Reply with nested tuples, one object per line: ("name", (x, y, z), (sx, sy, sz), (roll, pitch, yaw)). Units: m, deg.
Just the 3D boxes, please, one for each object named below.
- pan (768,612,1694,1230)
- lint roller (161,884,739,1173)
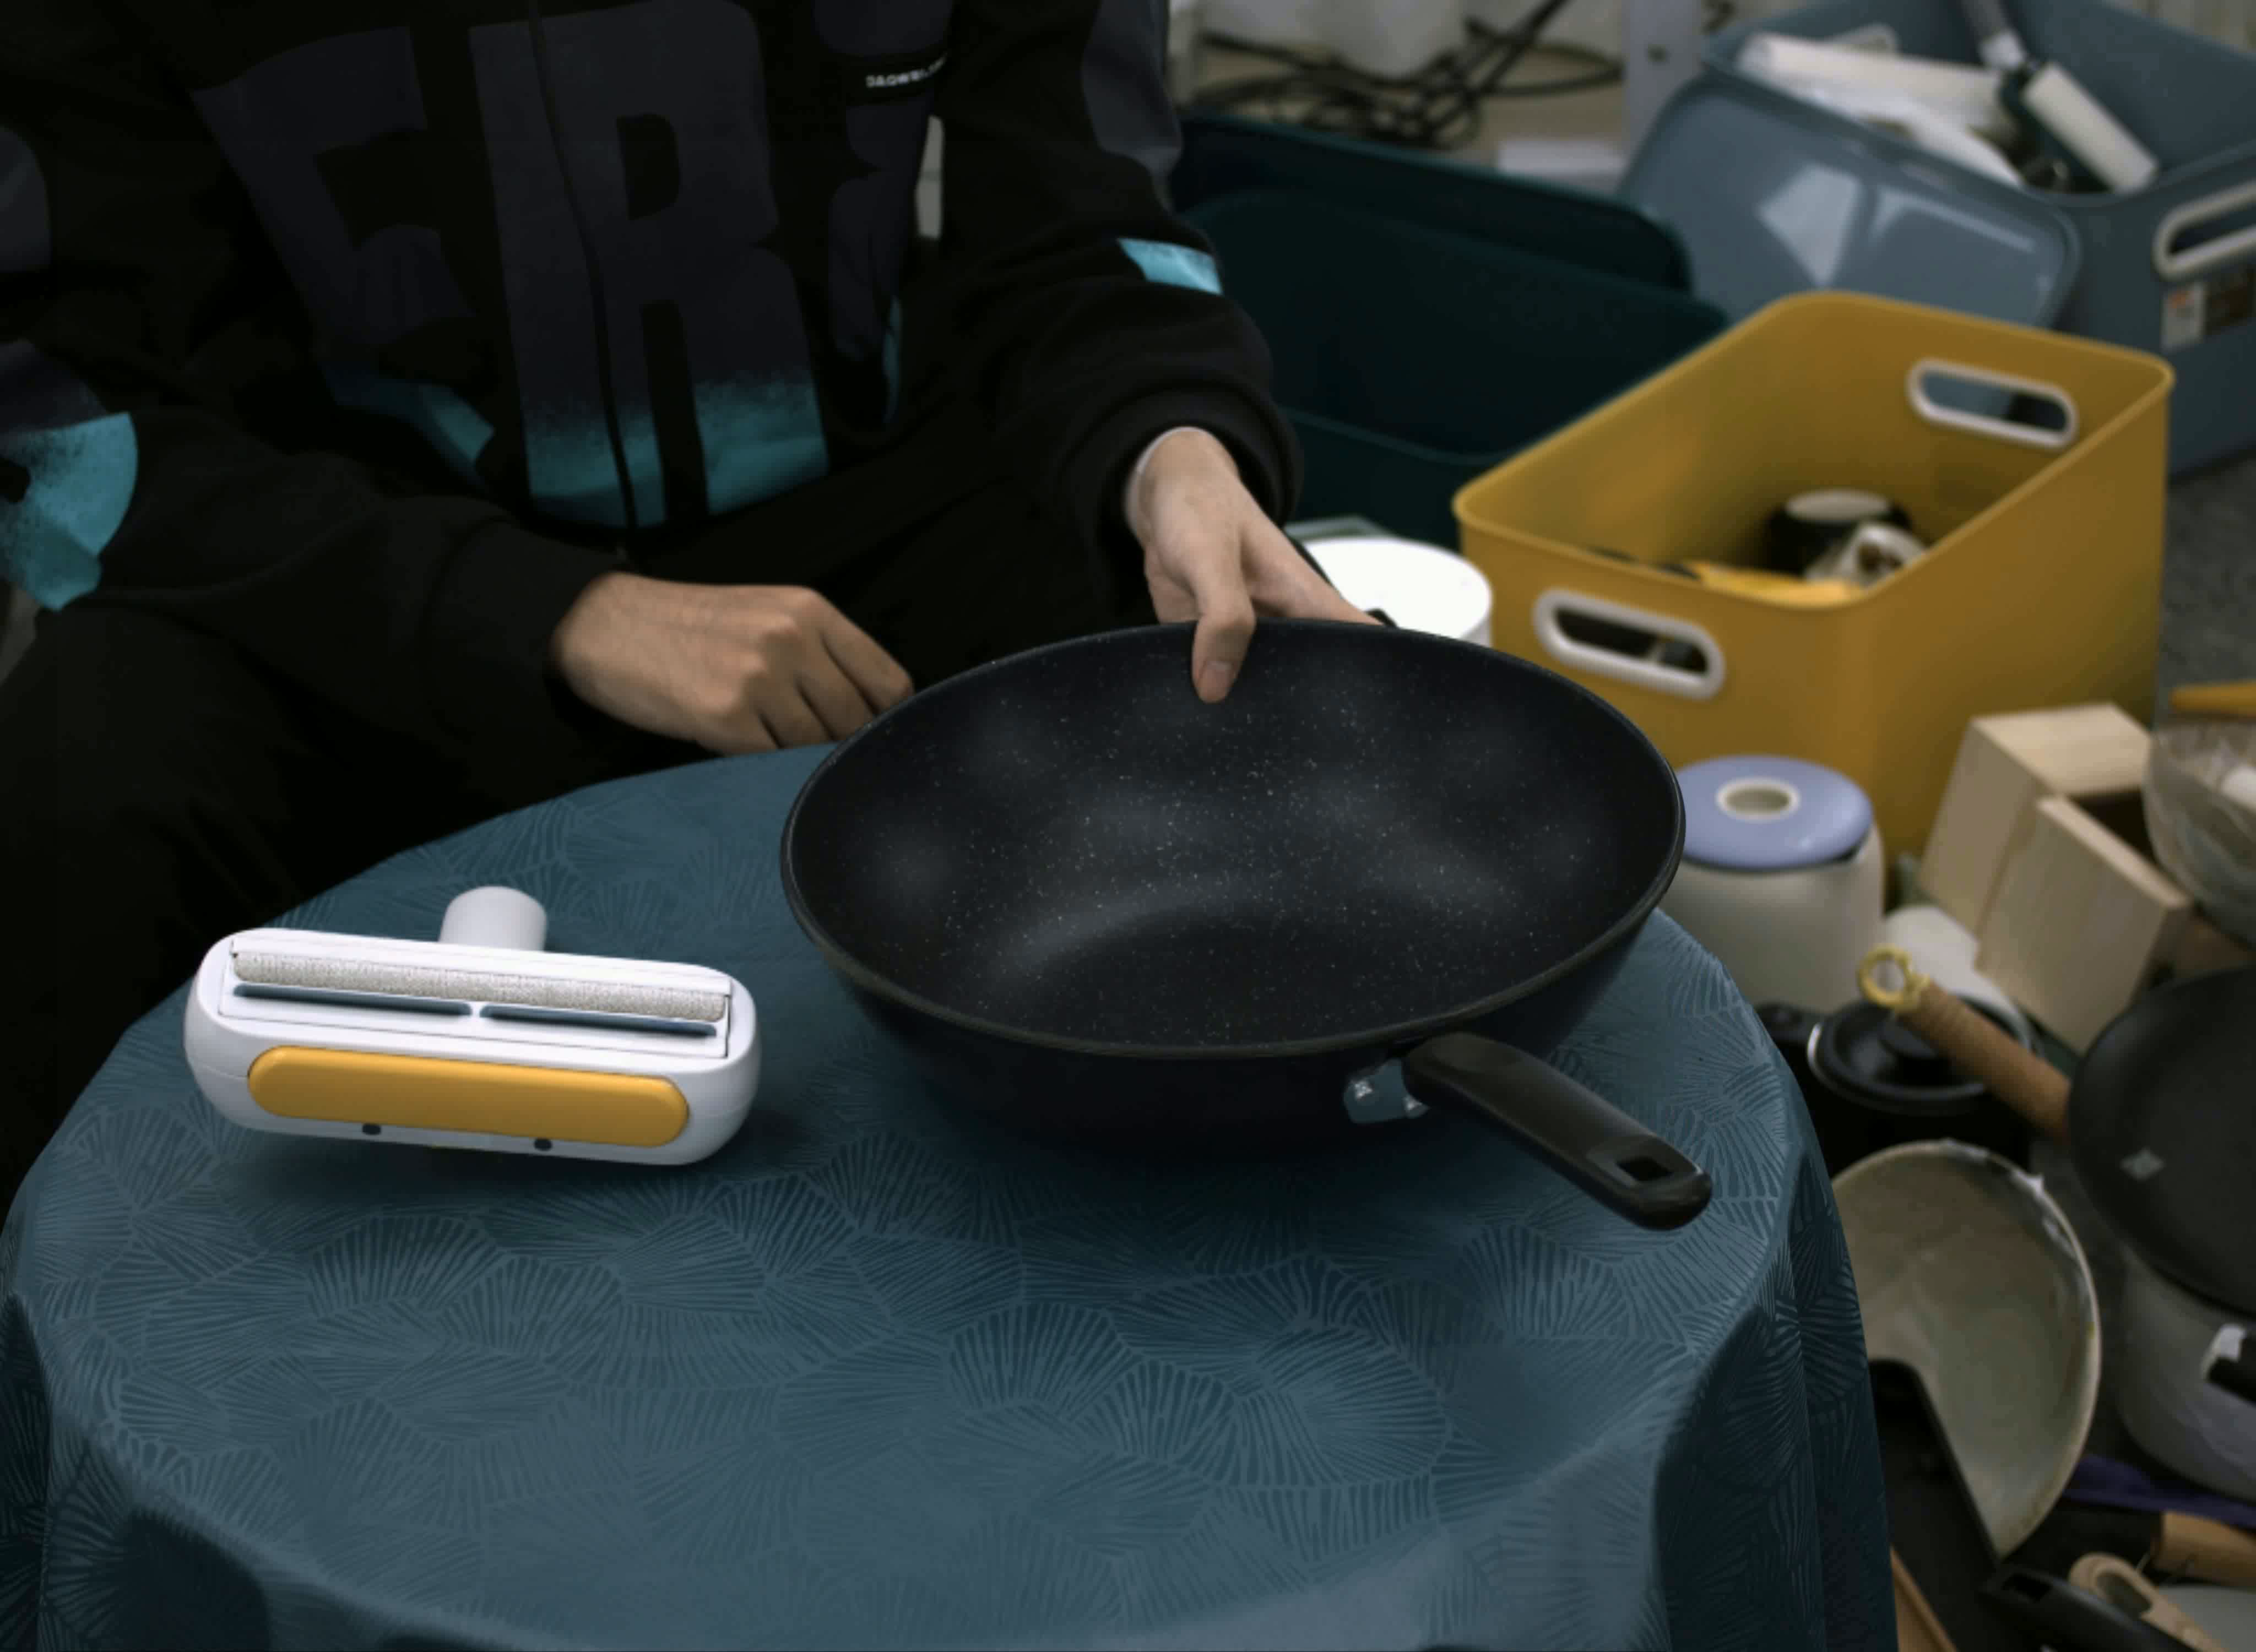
("pan", (0.066, 0.057, 1.863), (0.311, 0.110, 0.480), (-15, 30, -19))
("lint roller", (-0.225, 0.055, 1.938), (0.192, 0.073, 0.195), (3, 26, 0))
